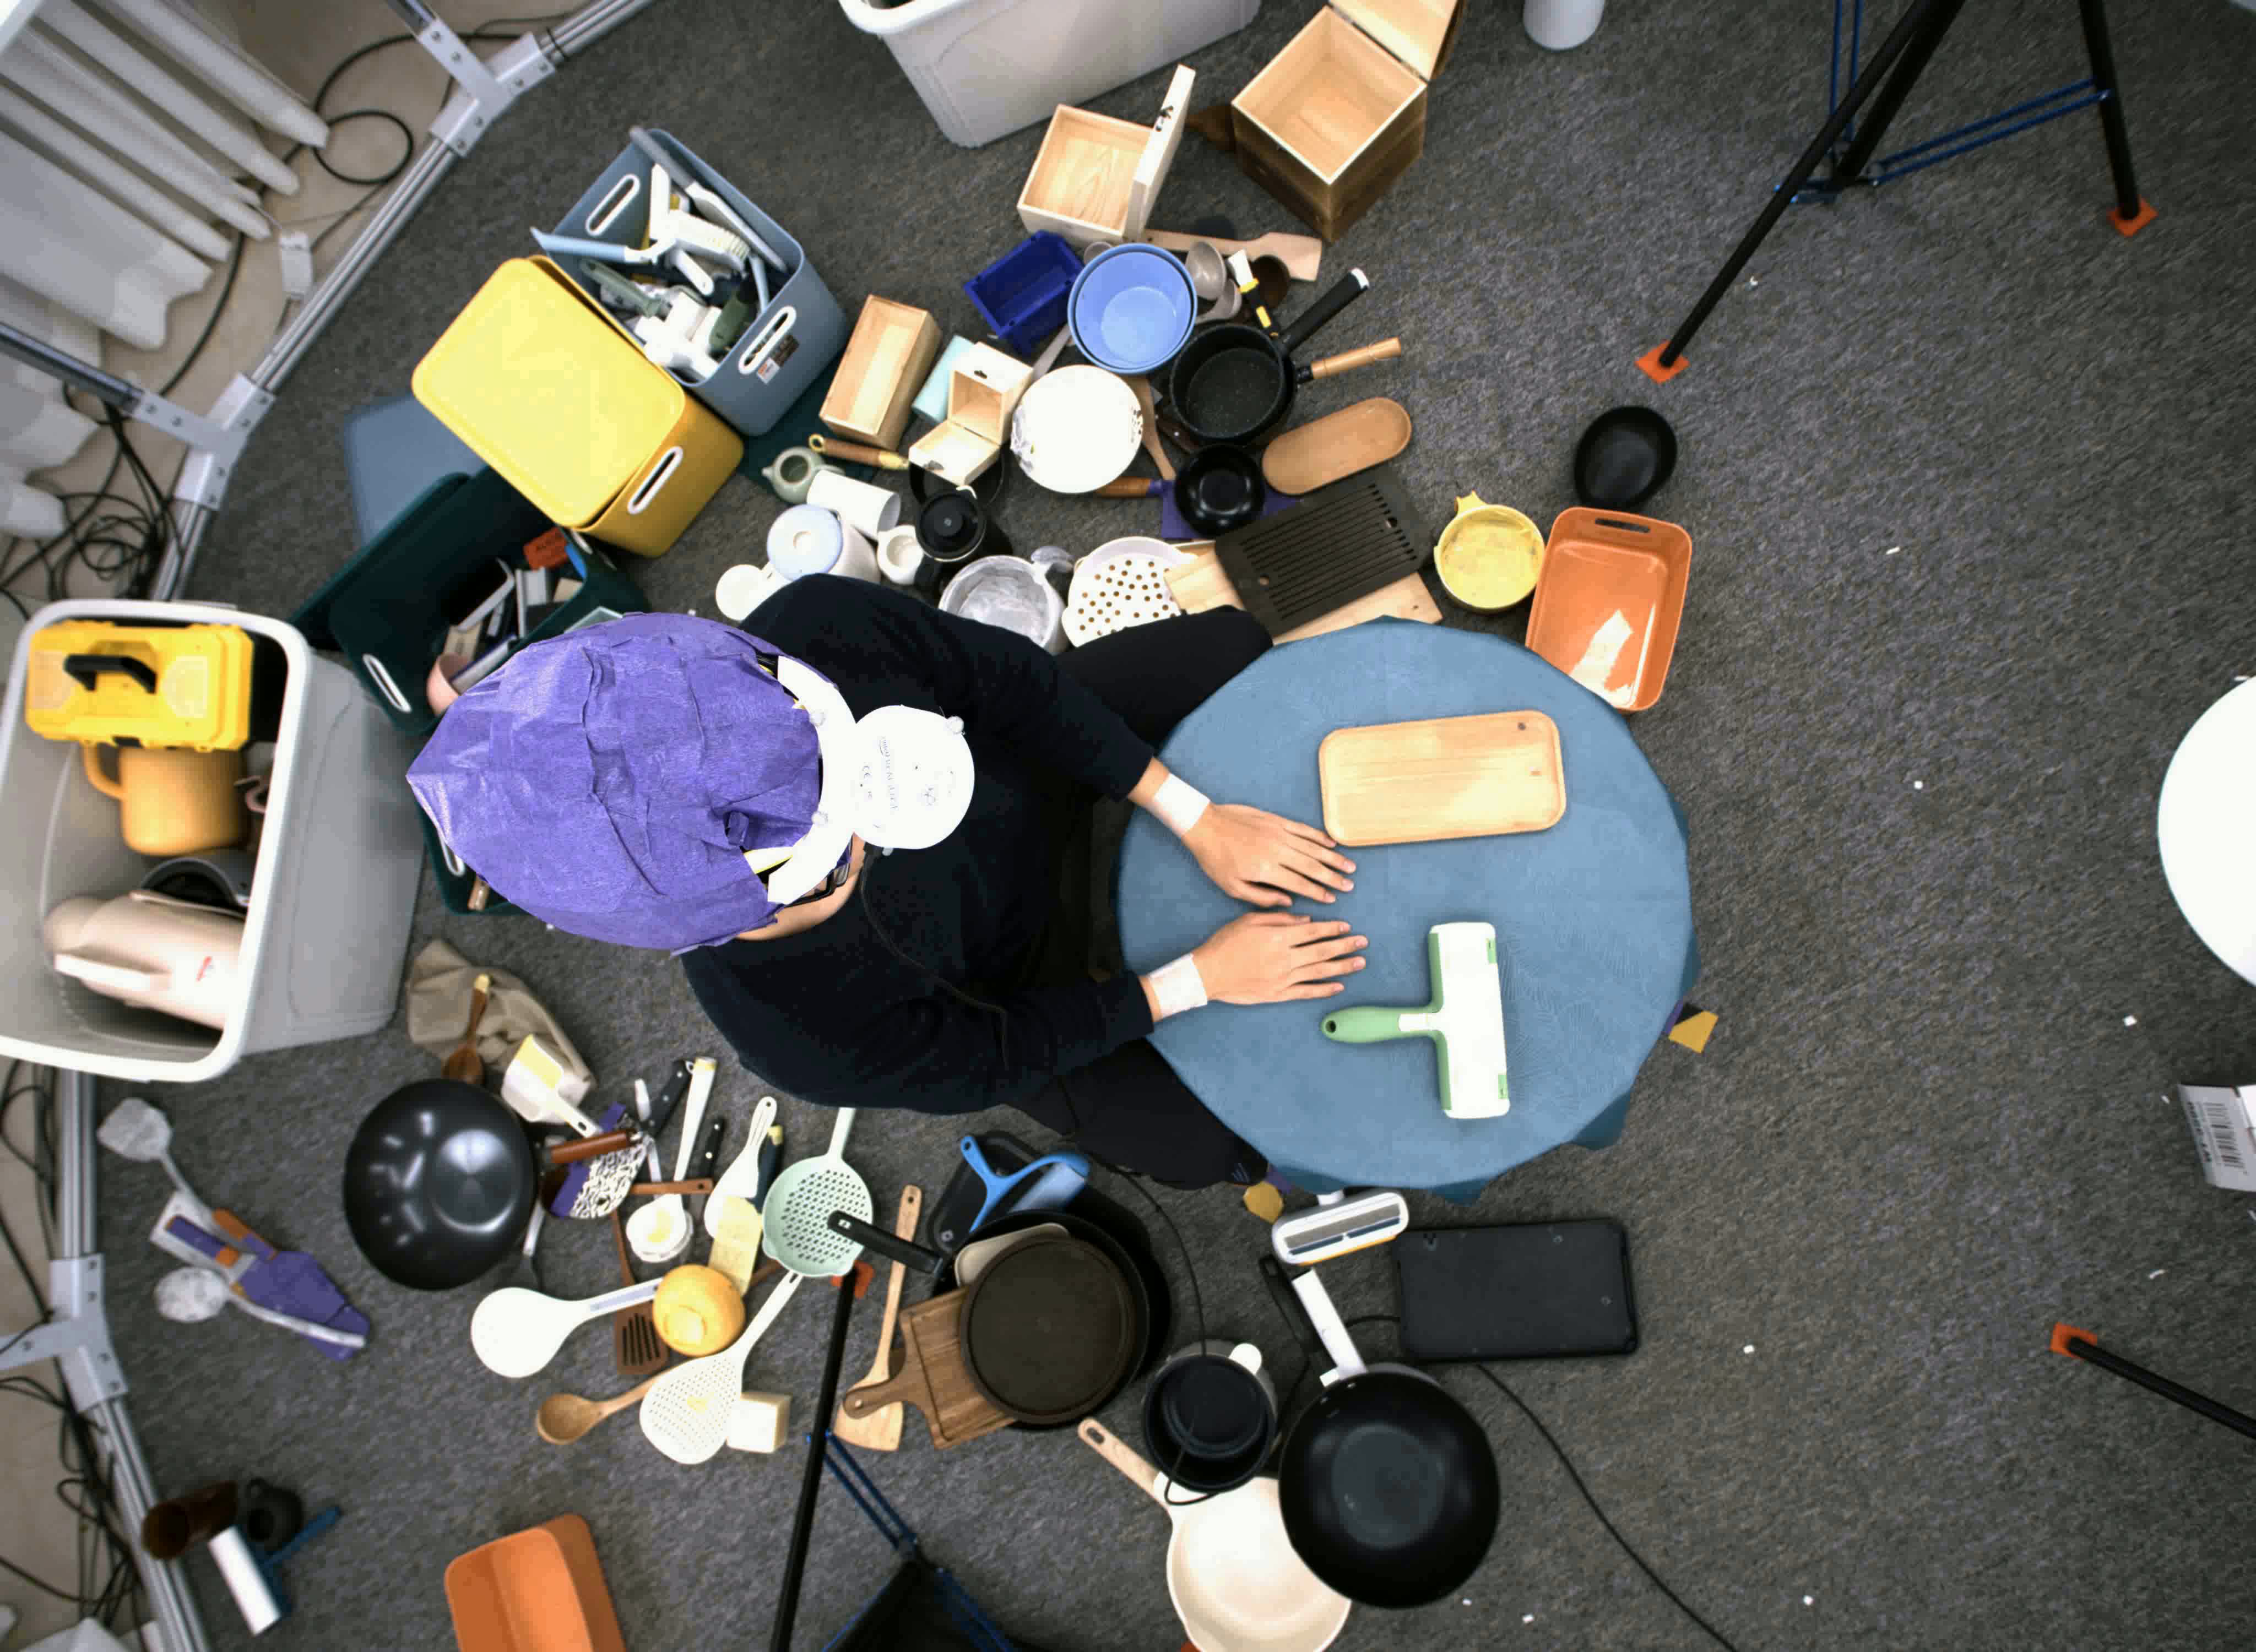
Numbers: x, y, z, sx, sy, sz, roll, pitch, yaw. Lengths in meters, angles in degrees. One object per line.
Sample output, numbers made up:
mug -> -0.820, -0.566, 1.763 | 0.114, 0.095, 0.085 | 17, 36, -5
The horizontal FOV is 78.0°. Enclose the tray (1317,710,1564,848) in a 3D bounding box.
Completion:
tray -> 0.327, -0.050, 1.448 | 0.252, 0.023, 0.129 | -5, 84, 11

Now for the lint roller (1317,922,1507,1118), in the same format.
lint roller -> 0.286, 0.199, 1.406 | 0.184, 0.082, 0.197 | -4, 85, 4
